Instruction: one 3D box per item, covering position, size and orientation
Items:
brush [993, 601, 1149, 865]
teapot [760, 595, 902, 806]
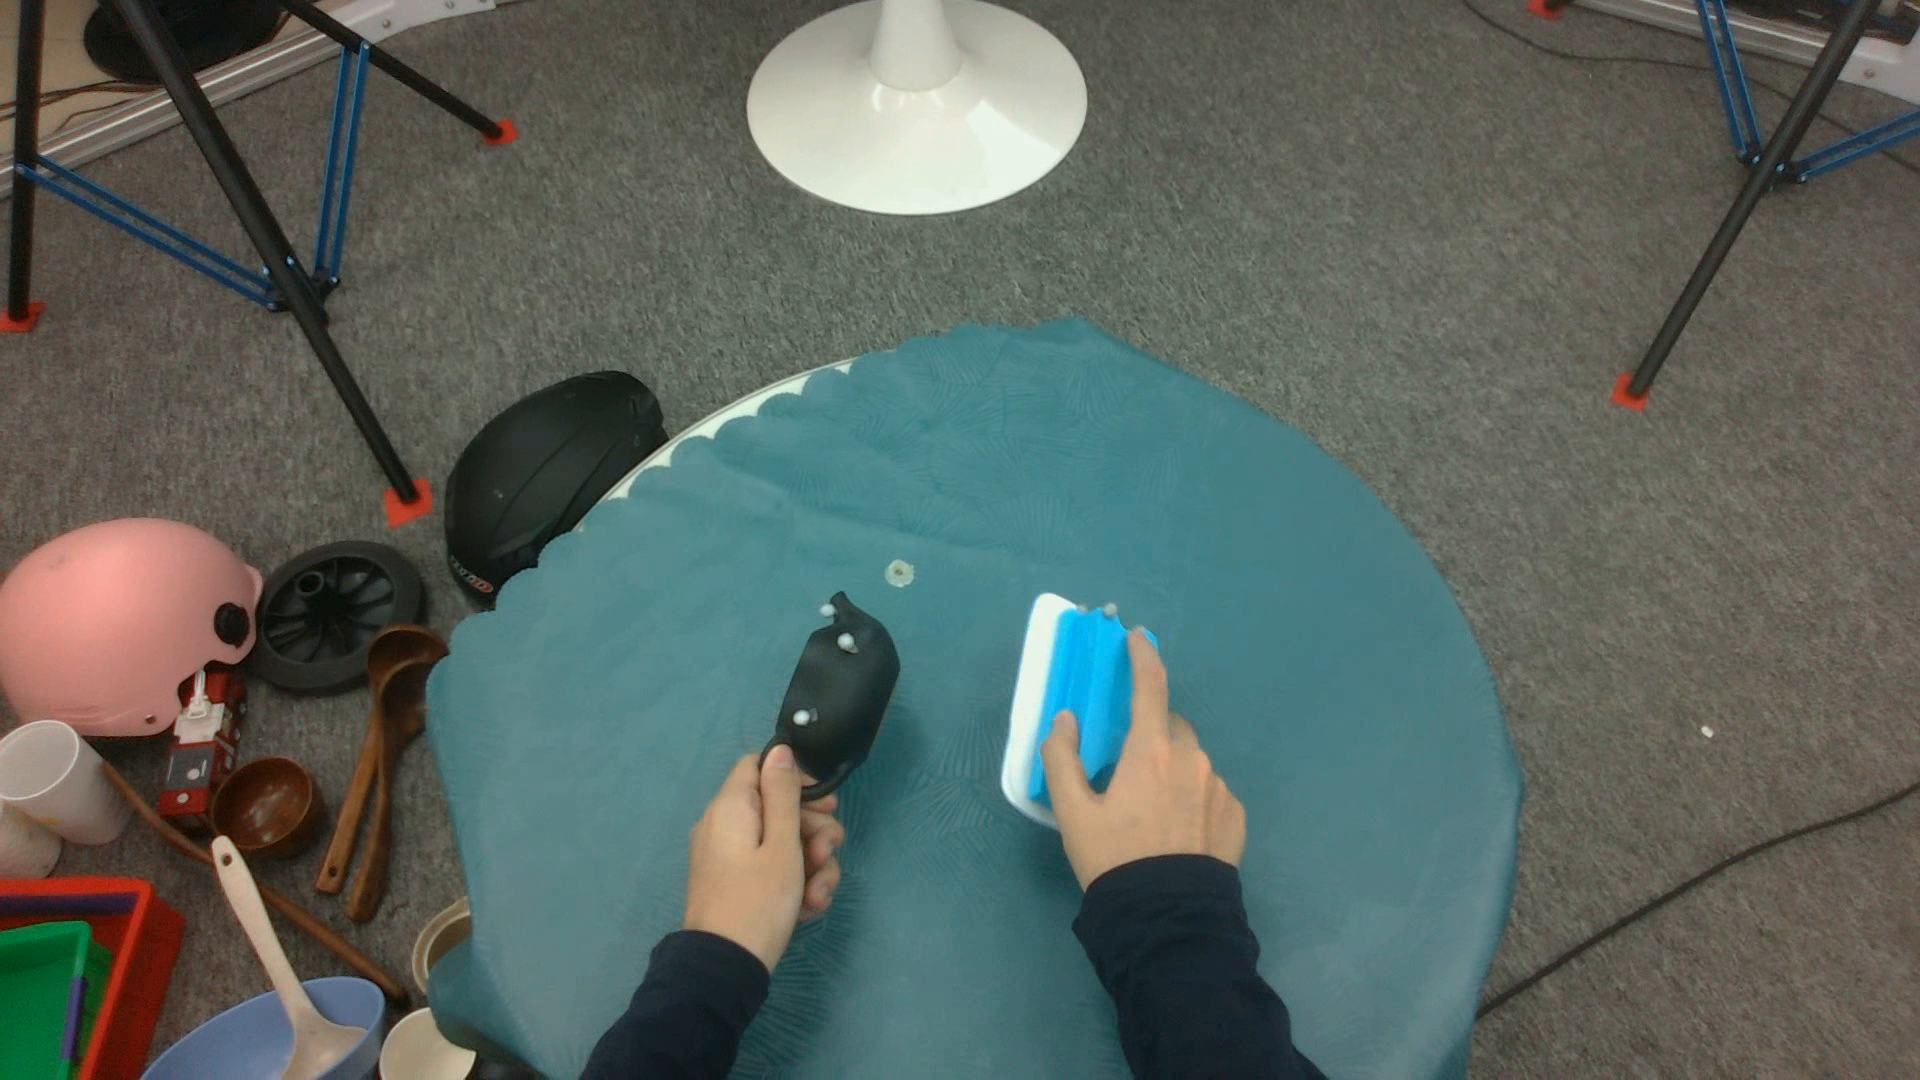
[{"bbox_3d":[0.071,0.097,0.748,0.084,0.055,0.144,33,49,-21],"label":"brush"},{"bbox_3d":[-0.066,0.090,0.759,0.053,0.090,0.134,21,52,2],"label":"teapot"}]
